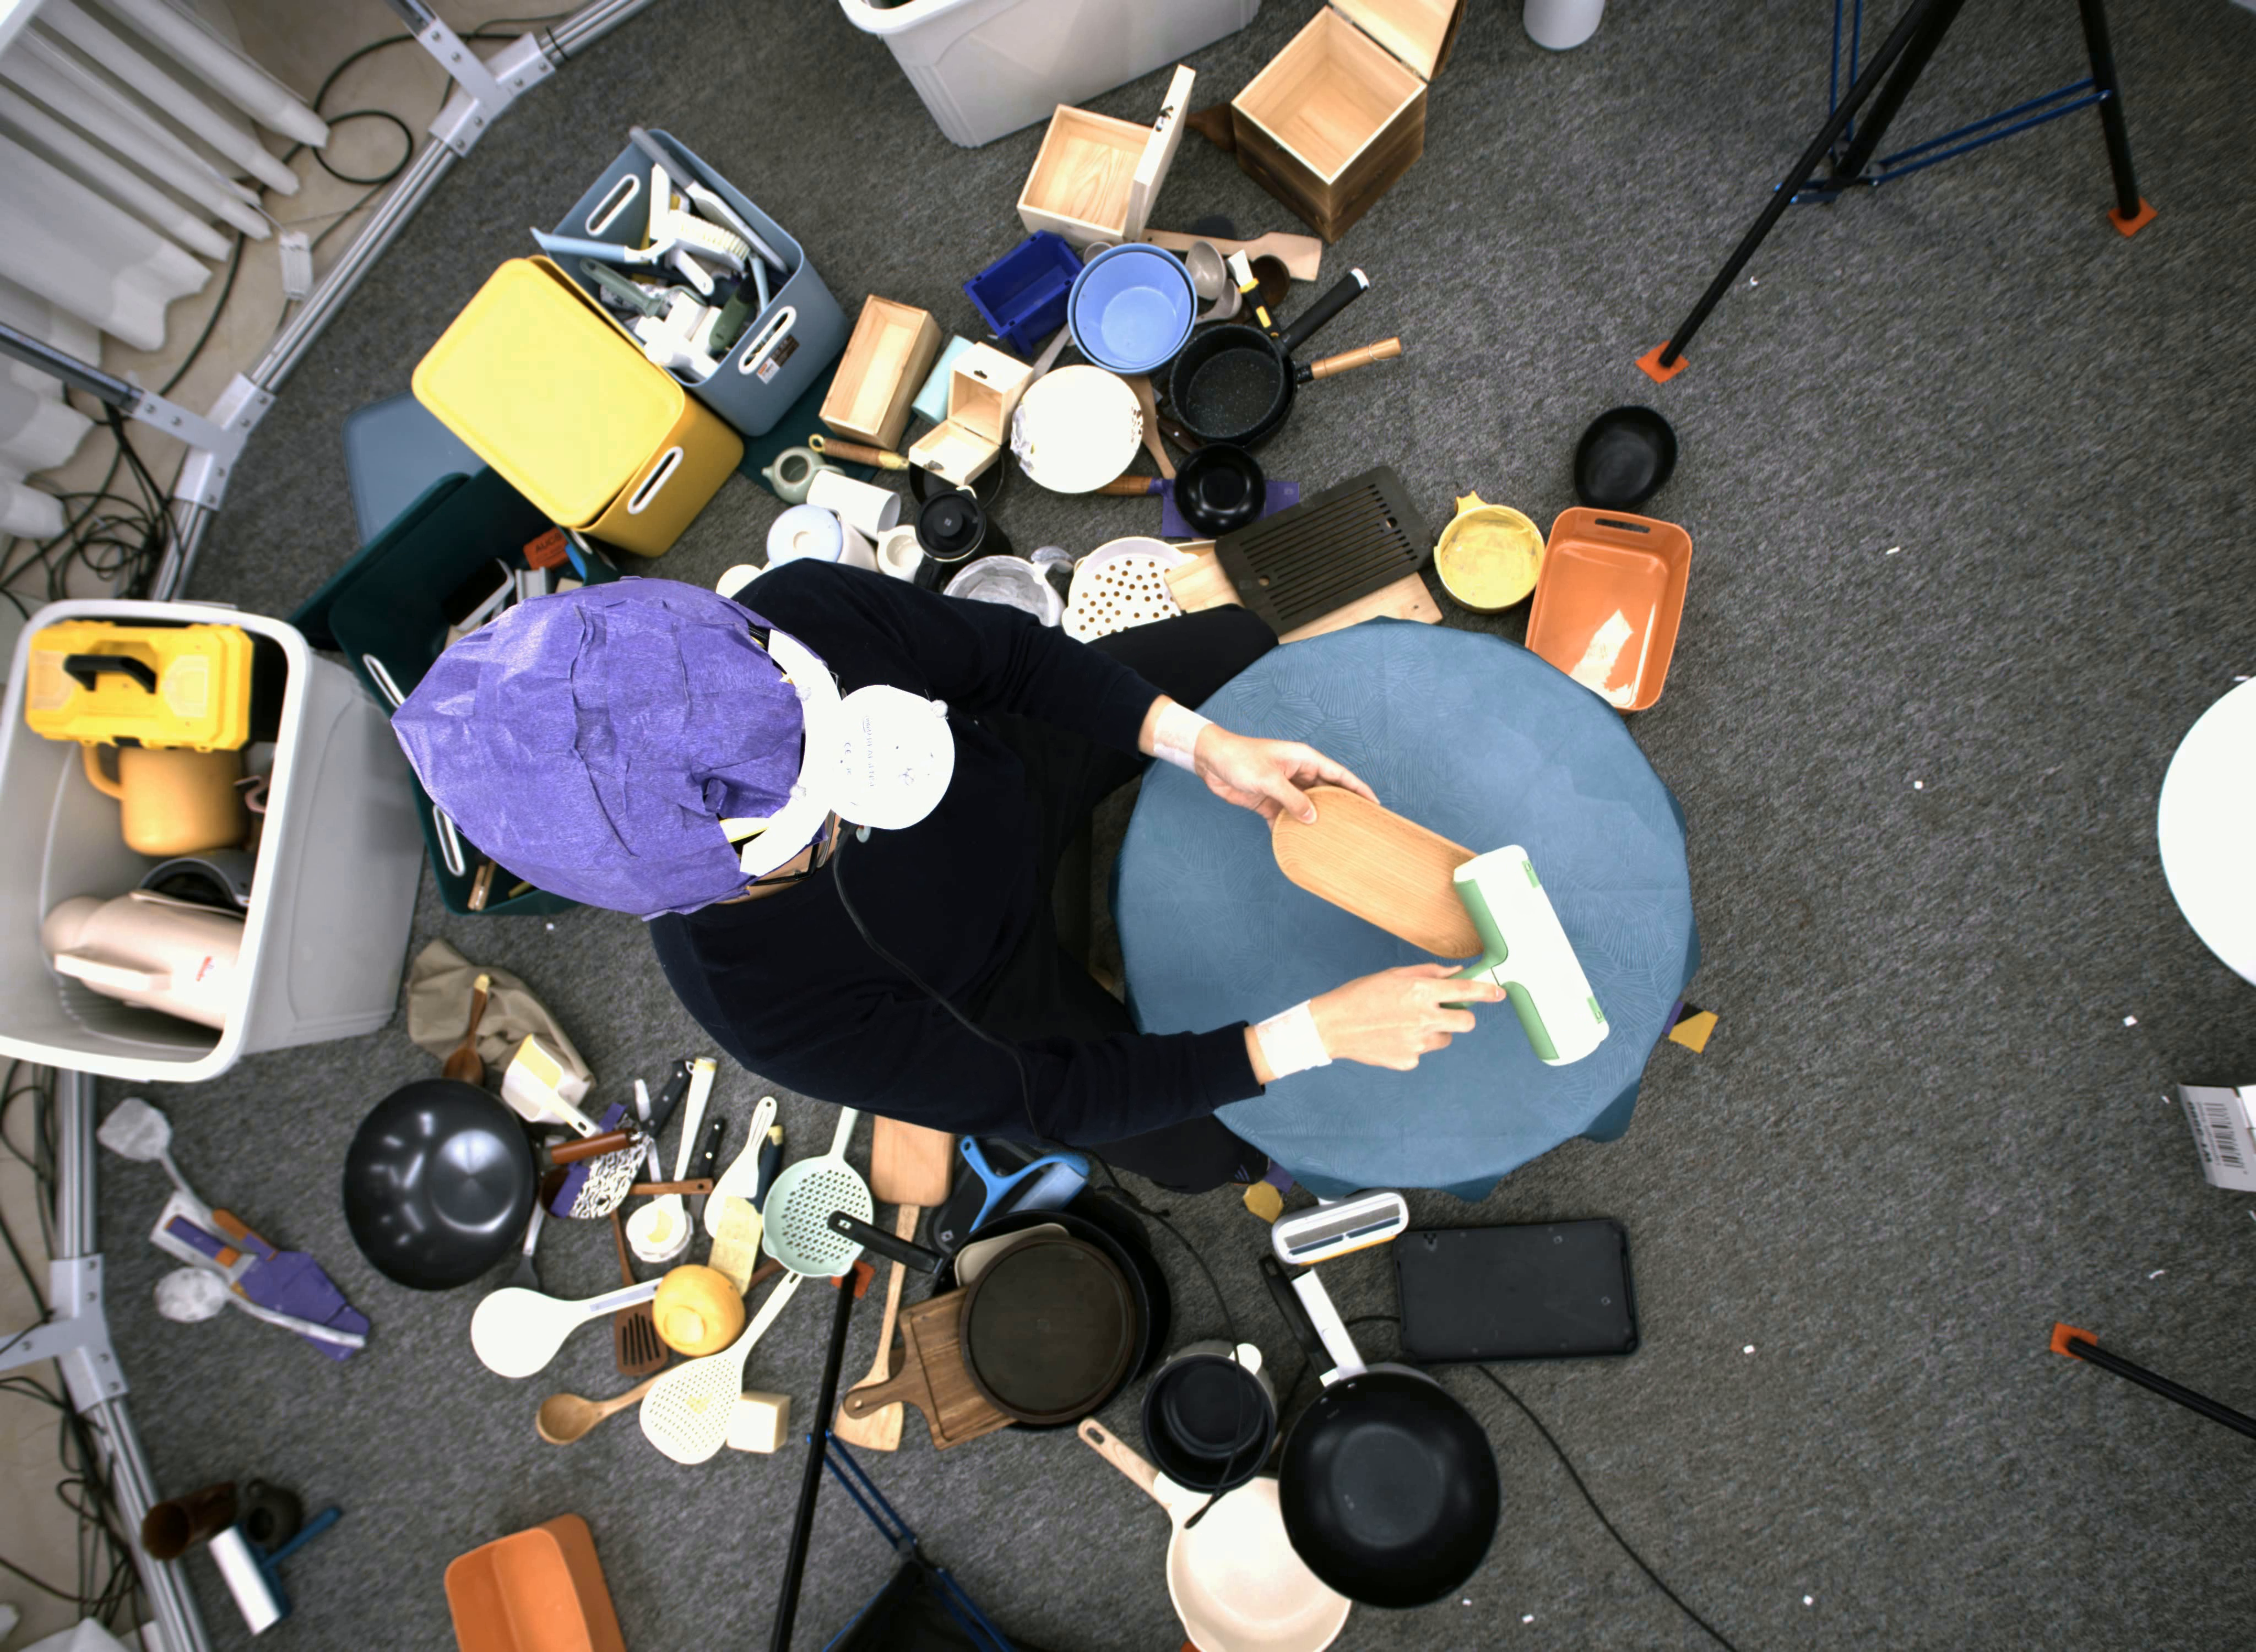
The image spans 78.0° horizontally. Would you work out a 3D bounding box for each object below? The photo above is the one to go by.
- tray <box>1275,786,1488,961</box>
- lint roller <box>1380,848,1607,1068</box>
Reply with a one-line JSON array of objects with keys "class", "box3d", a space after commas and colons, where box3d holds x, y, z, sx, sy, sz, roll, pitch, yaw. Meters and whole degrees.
[{"class": "tray", "box3d": [0.244, 0.042, 1.268, 0.231, 0.020, 0.103, 26, 103, 6]}, {"class": "lint roller", "box3d": [0.309, 0.142, 1.204, 0.182, 0.082, 0.199, -29, 95, -12]}]
